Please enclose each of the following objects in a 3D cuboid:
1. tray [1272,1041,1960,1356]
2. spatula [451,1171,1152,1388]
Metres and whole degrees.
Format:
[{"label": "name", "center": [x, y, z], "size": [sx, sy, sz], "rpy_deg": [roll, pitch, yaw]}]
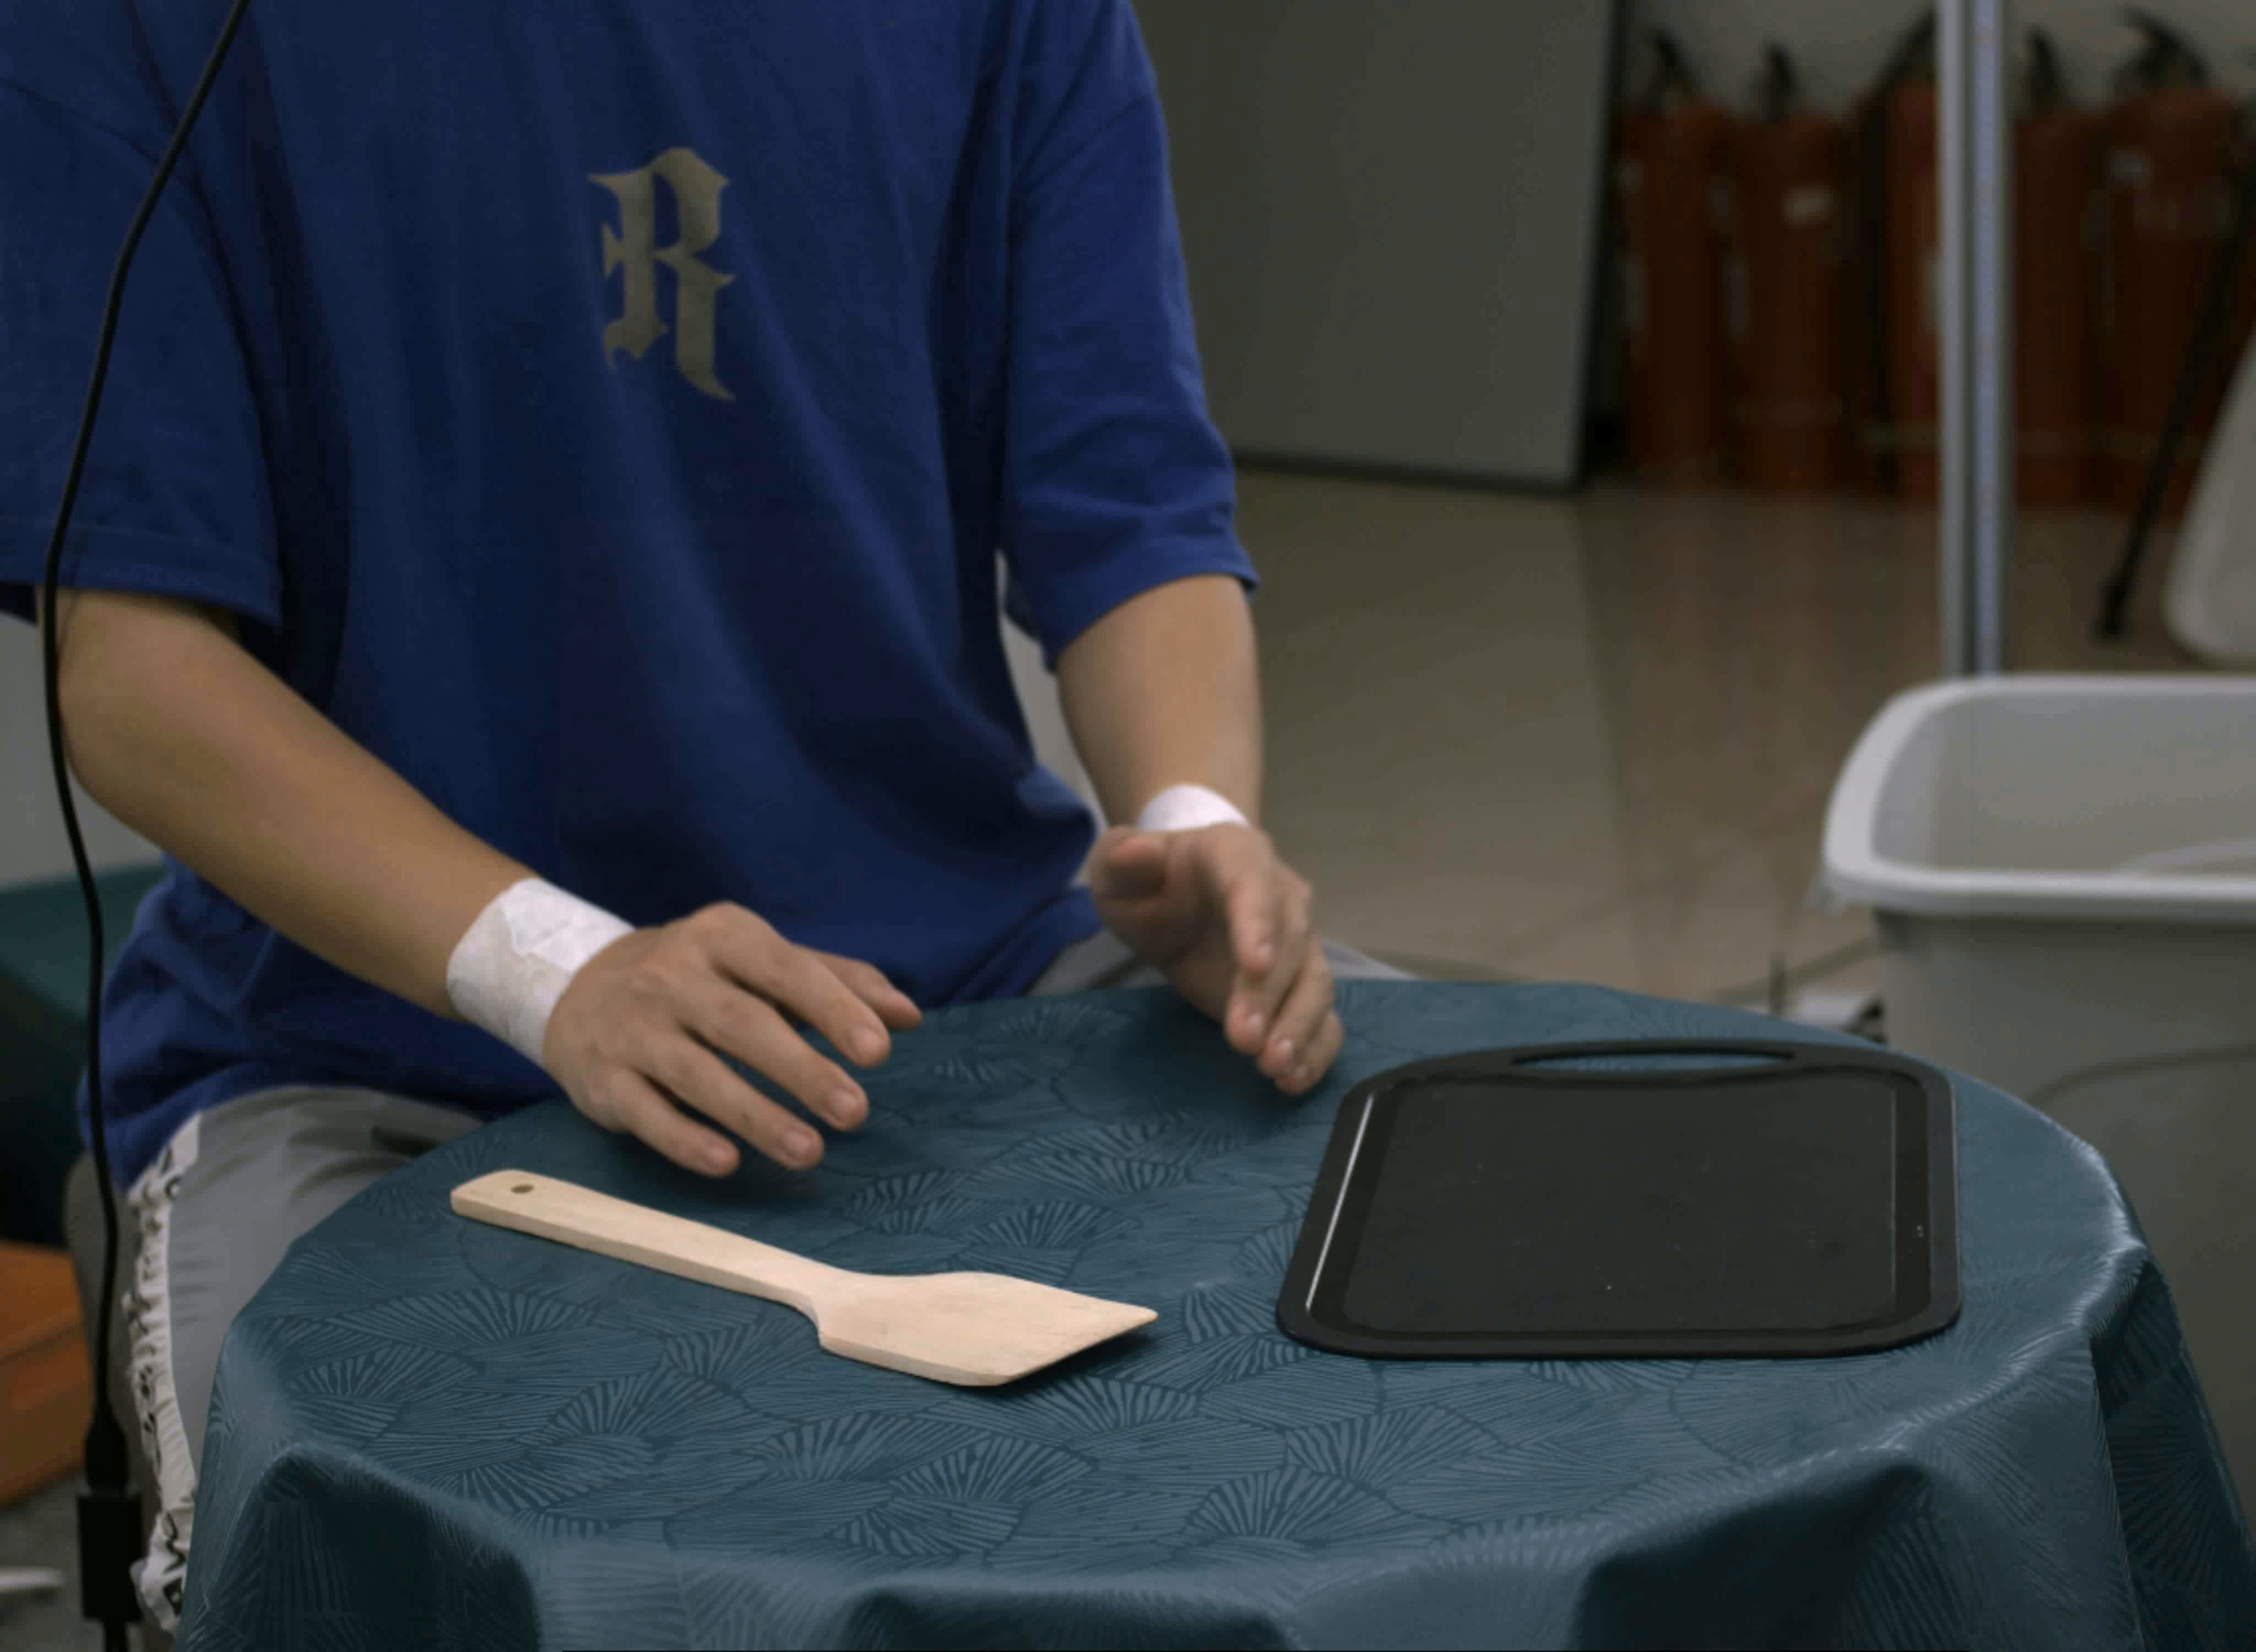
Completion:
[{"label": "tray", "center": [0.163, 0.114, 1.737], "size": [0.209, 0.010, 0.324], "rpy_deg": [-2, 14, 10]}, {"label": "spatula", "center": [-0.117, 0.140, 1.708], "size": [0.071, 0.011, 0.296], "rpy_deg": [-19, 20, -42]}]
